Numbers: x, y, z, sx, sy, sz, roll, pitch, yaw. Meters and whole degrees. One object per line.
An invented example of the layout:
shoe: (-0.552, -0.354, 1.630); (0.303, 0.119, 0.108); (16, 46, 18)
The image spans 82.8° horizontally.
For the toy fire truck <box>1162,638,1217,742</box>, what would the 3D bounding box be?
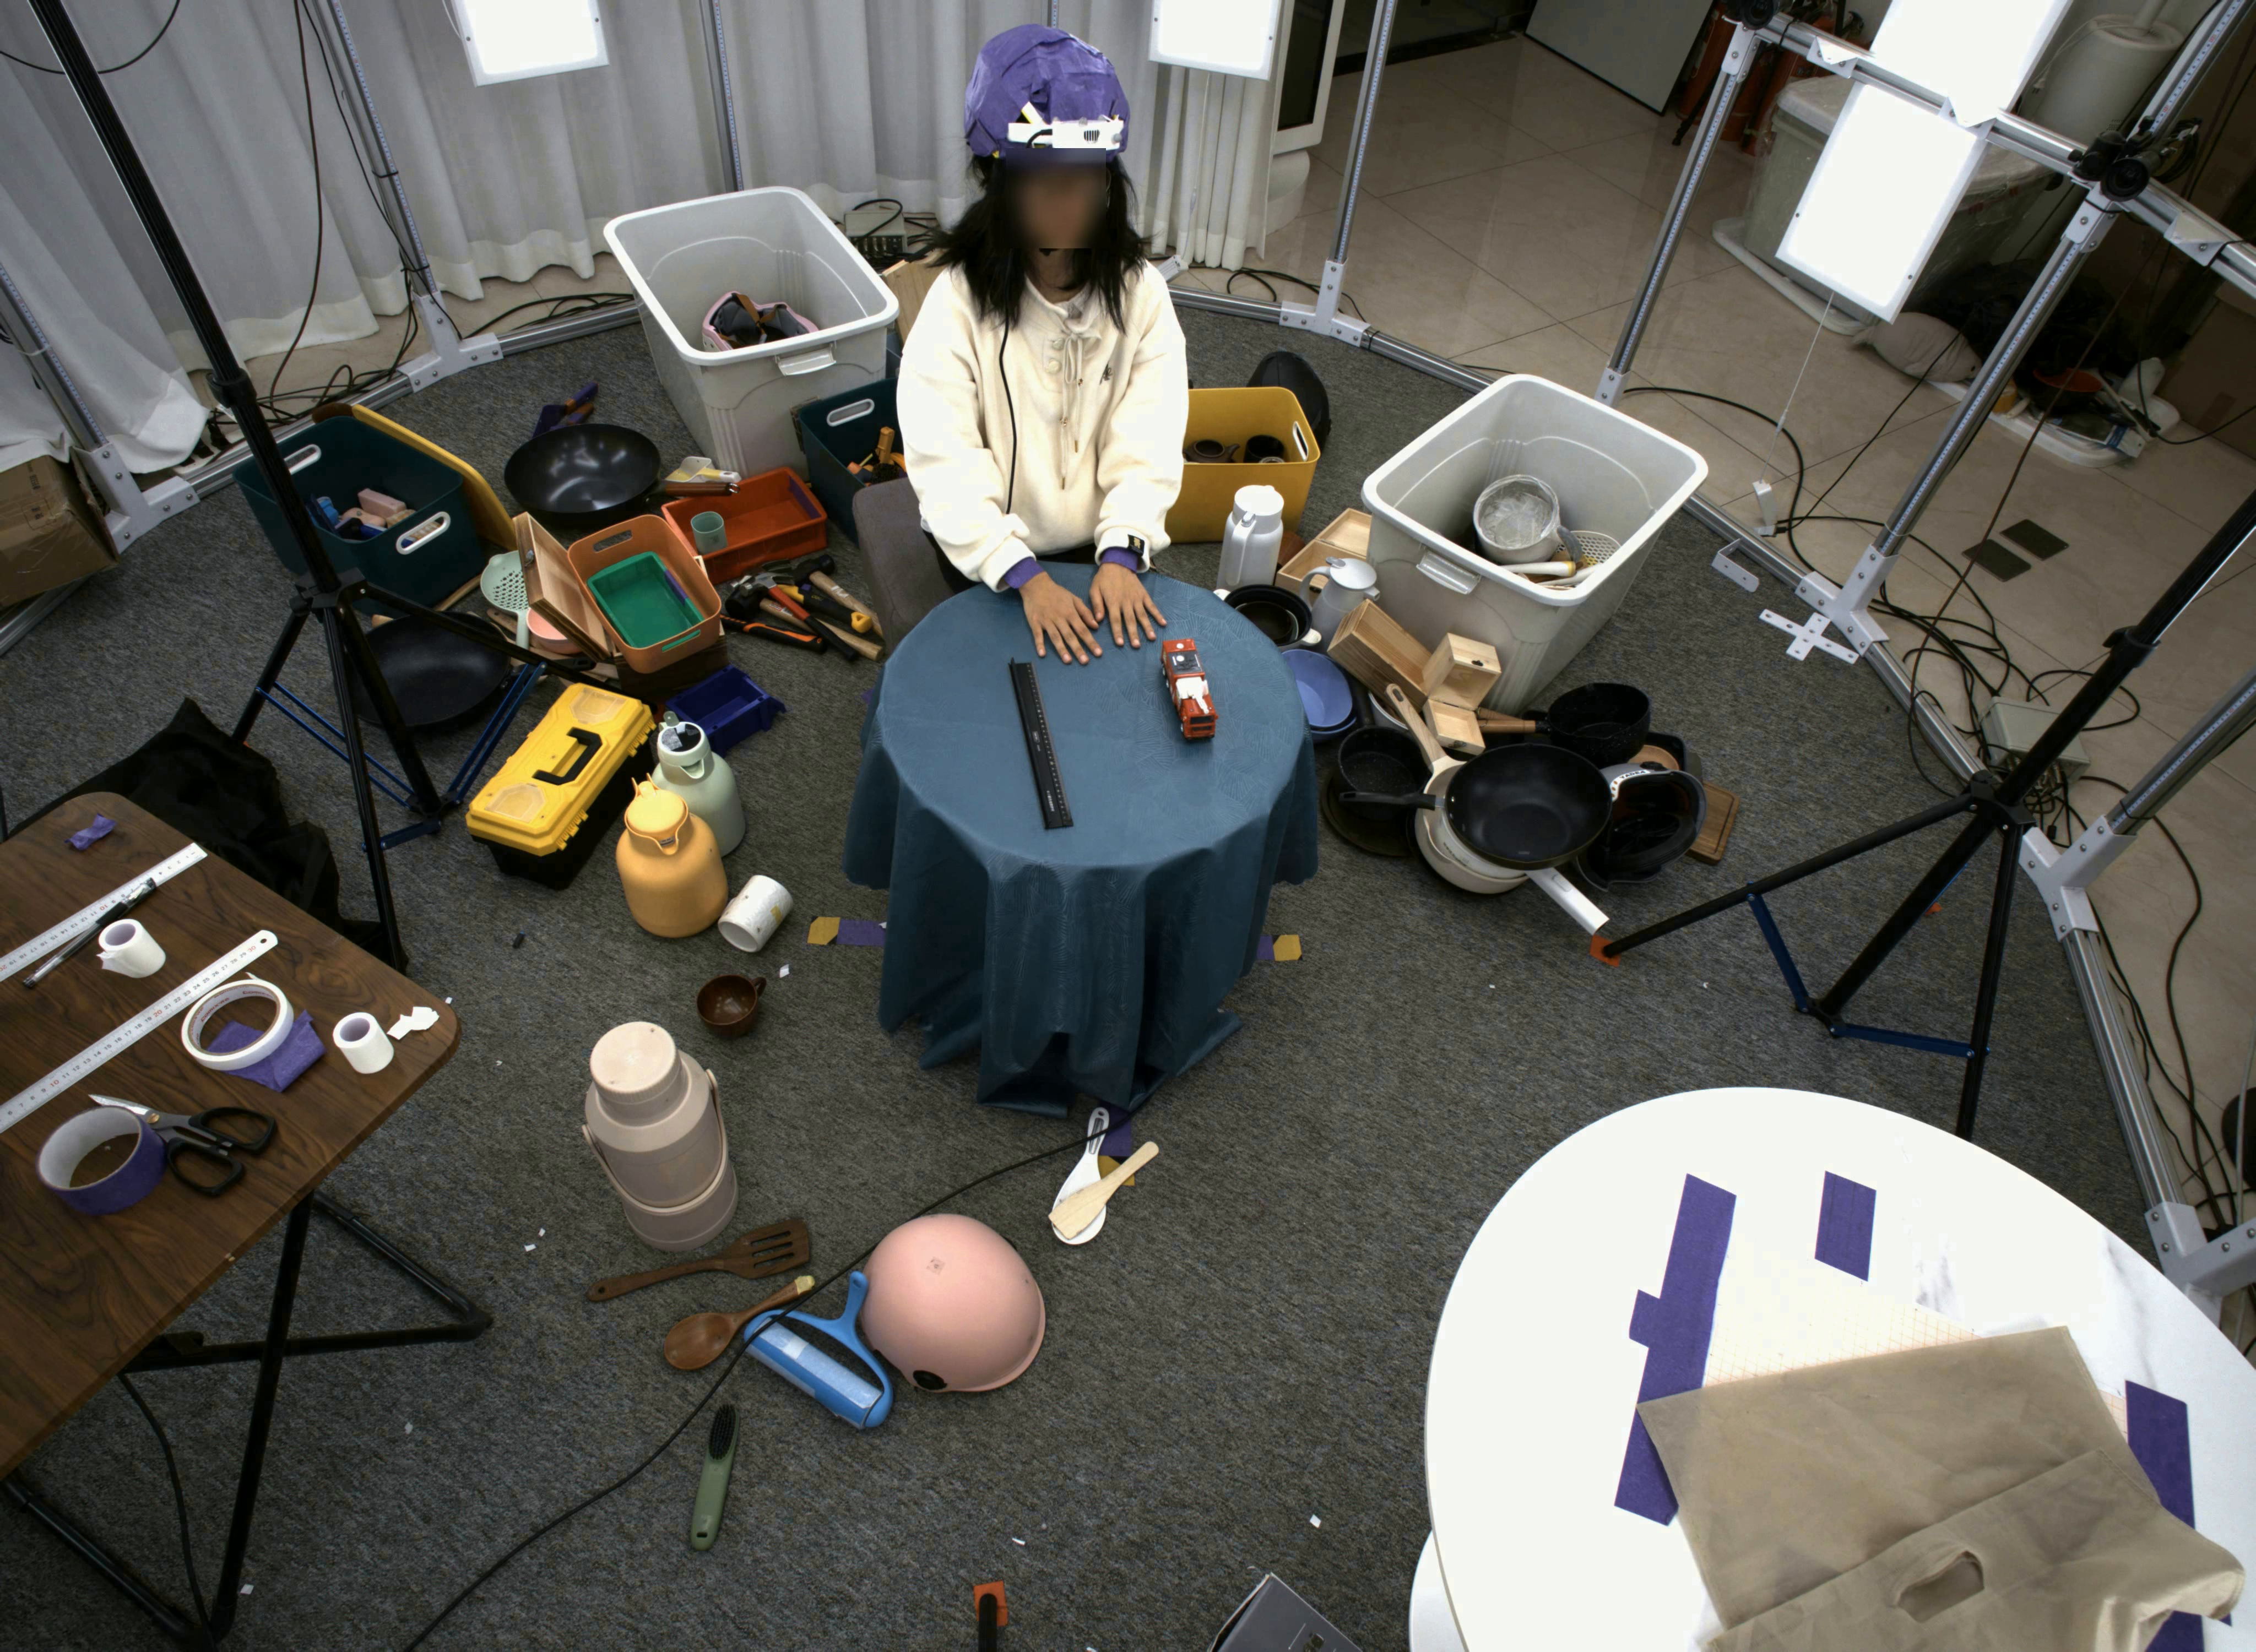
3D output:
toy fire truck: (0.086, -0.193, 1.805); (0.054, 0.068, 0.172); (-6, 49, -9)

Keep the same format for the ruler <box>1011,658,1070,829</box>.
ruler: (-0.121, -0.120, 1.756); (0.039, 0.017, 0.320); (-4, 49, -12)
